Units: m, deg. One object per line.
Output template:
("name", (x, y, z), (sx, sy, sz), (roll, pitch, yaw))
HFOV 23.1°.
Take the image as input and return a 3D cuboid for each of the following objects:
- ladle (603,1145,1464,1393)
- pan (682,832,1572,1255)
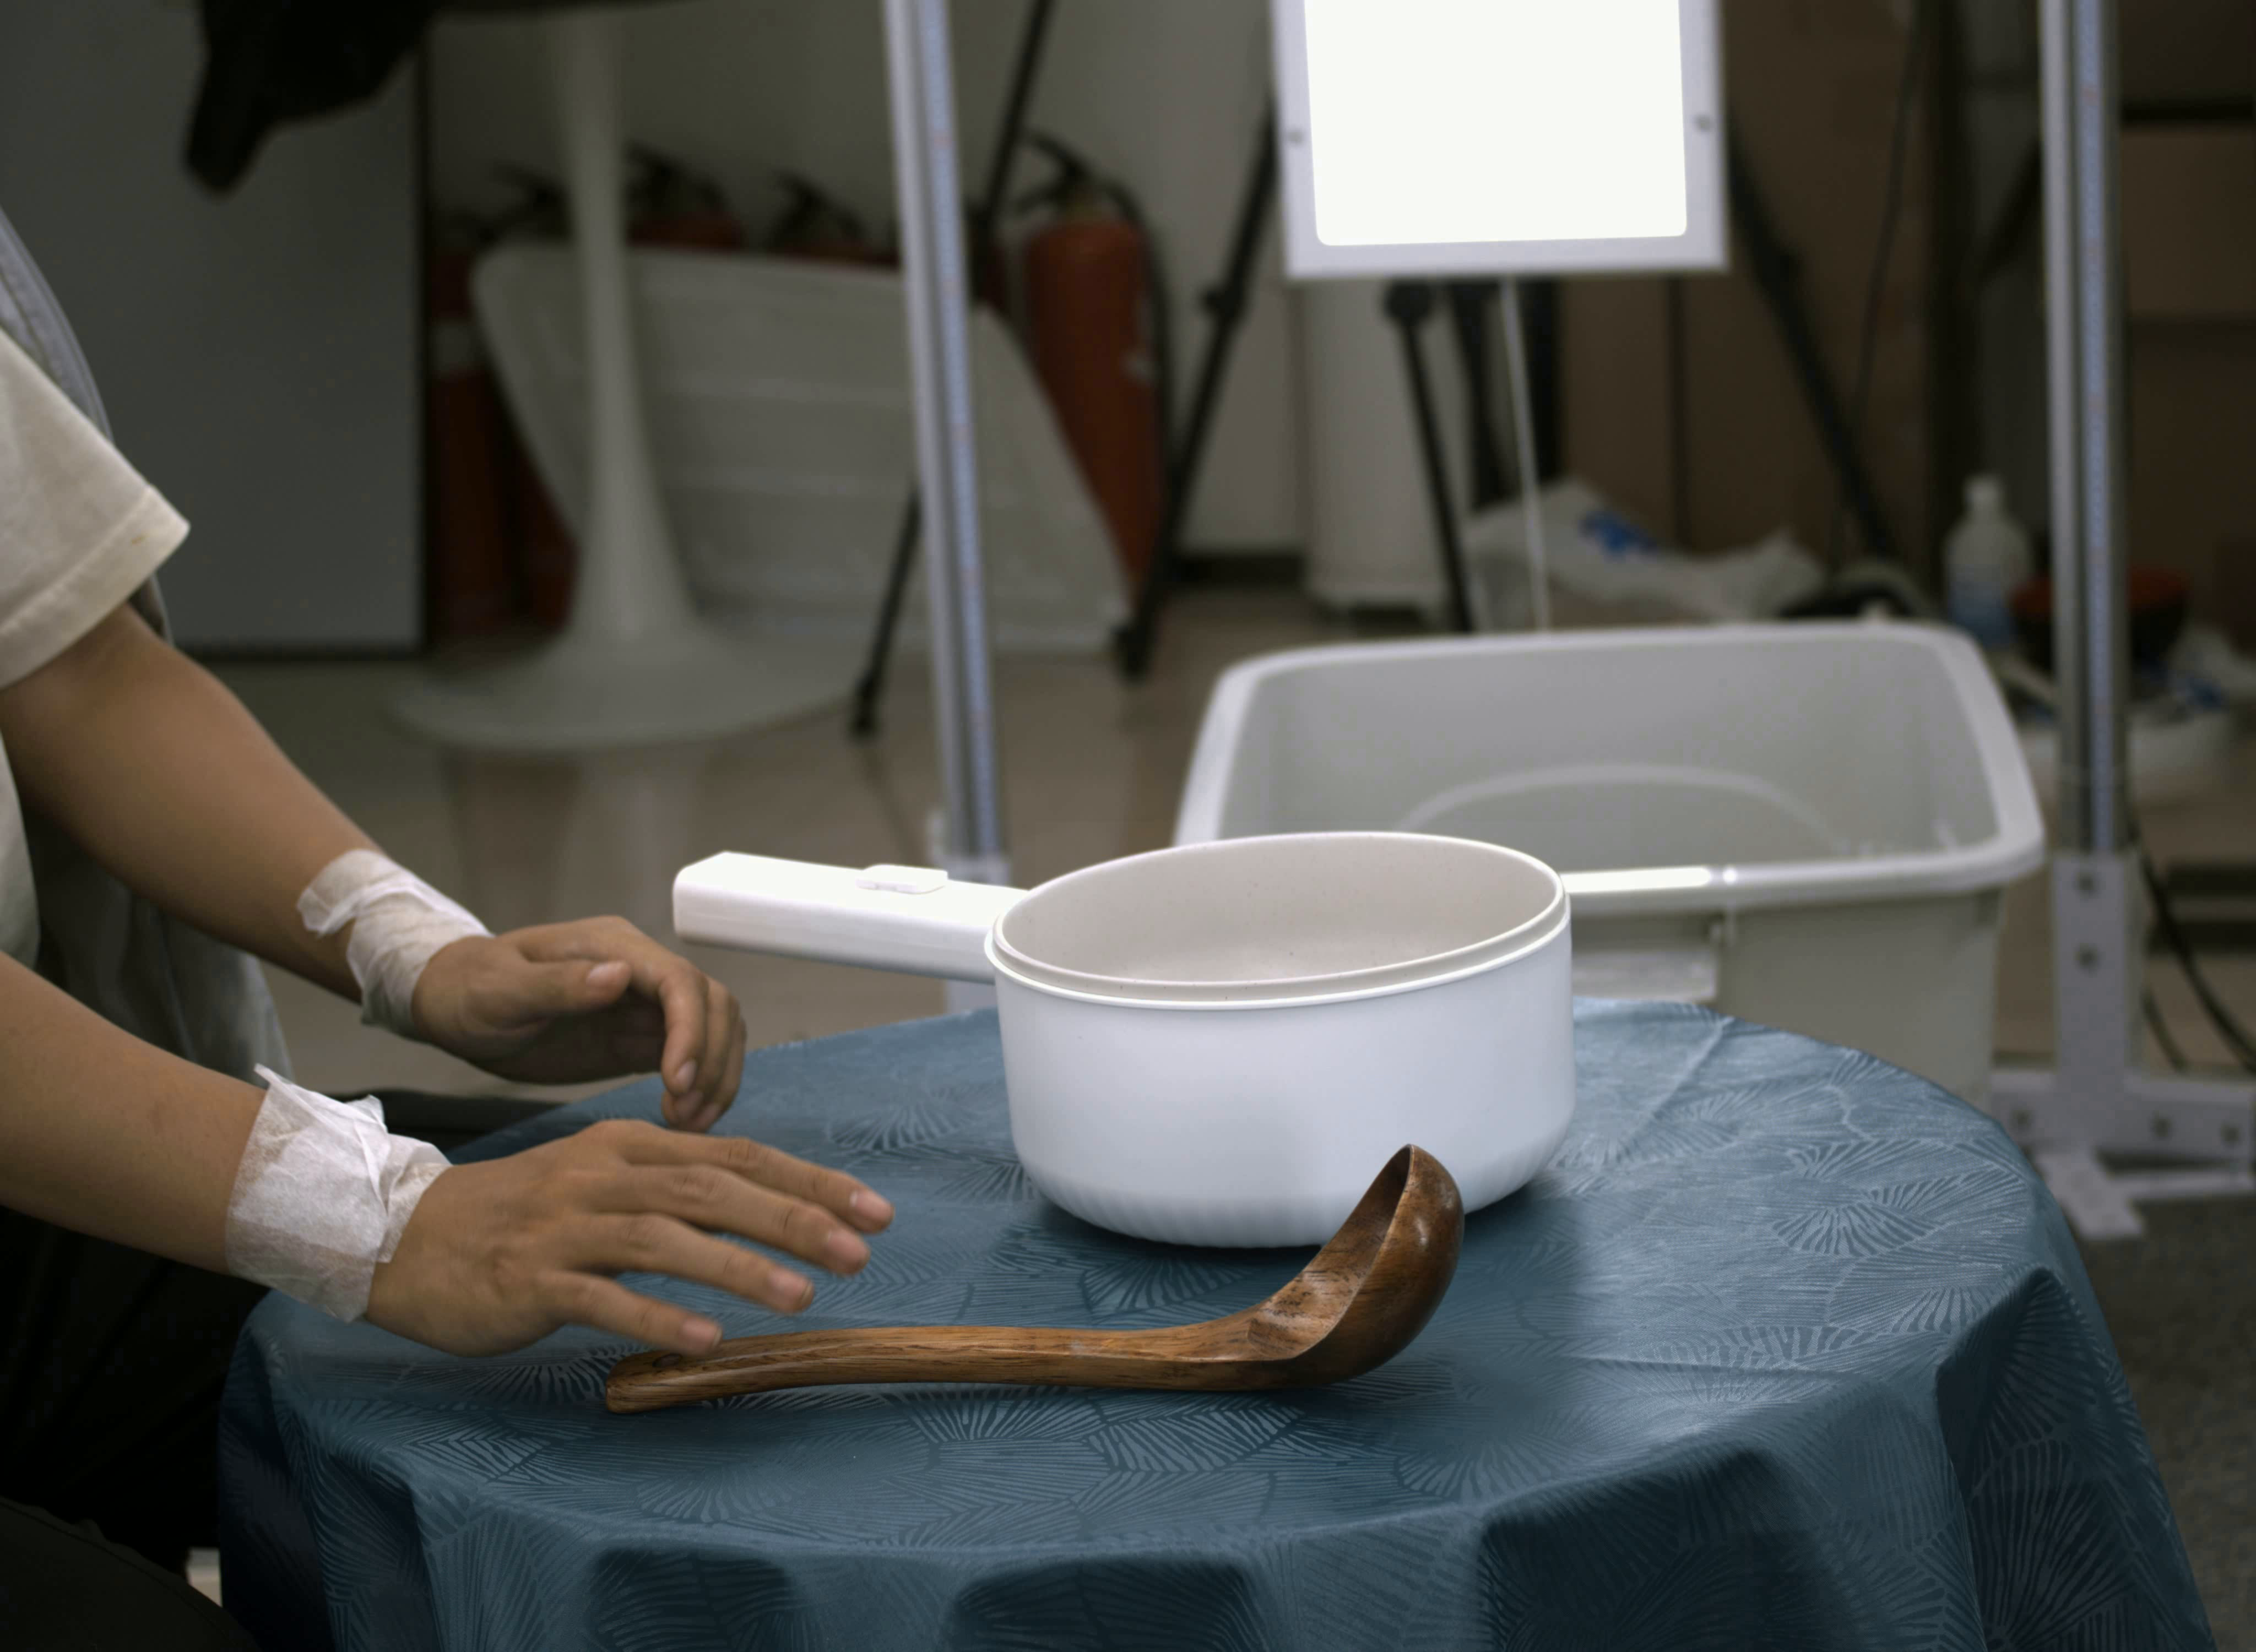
("ladle", (-0.032, 0.138, 1.694), (0.276, 0.077, 0.081), (-1, 17, 12))
("pan", (-0.008, 0.070, 1.922), (0.362, 0.102, 0.196), (5, 17, 37))
